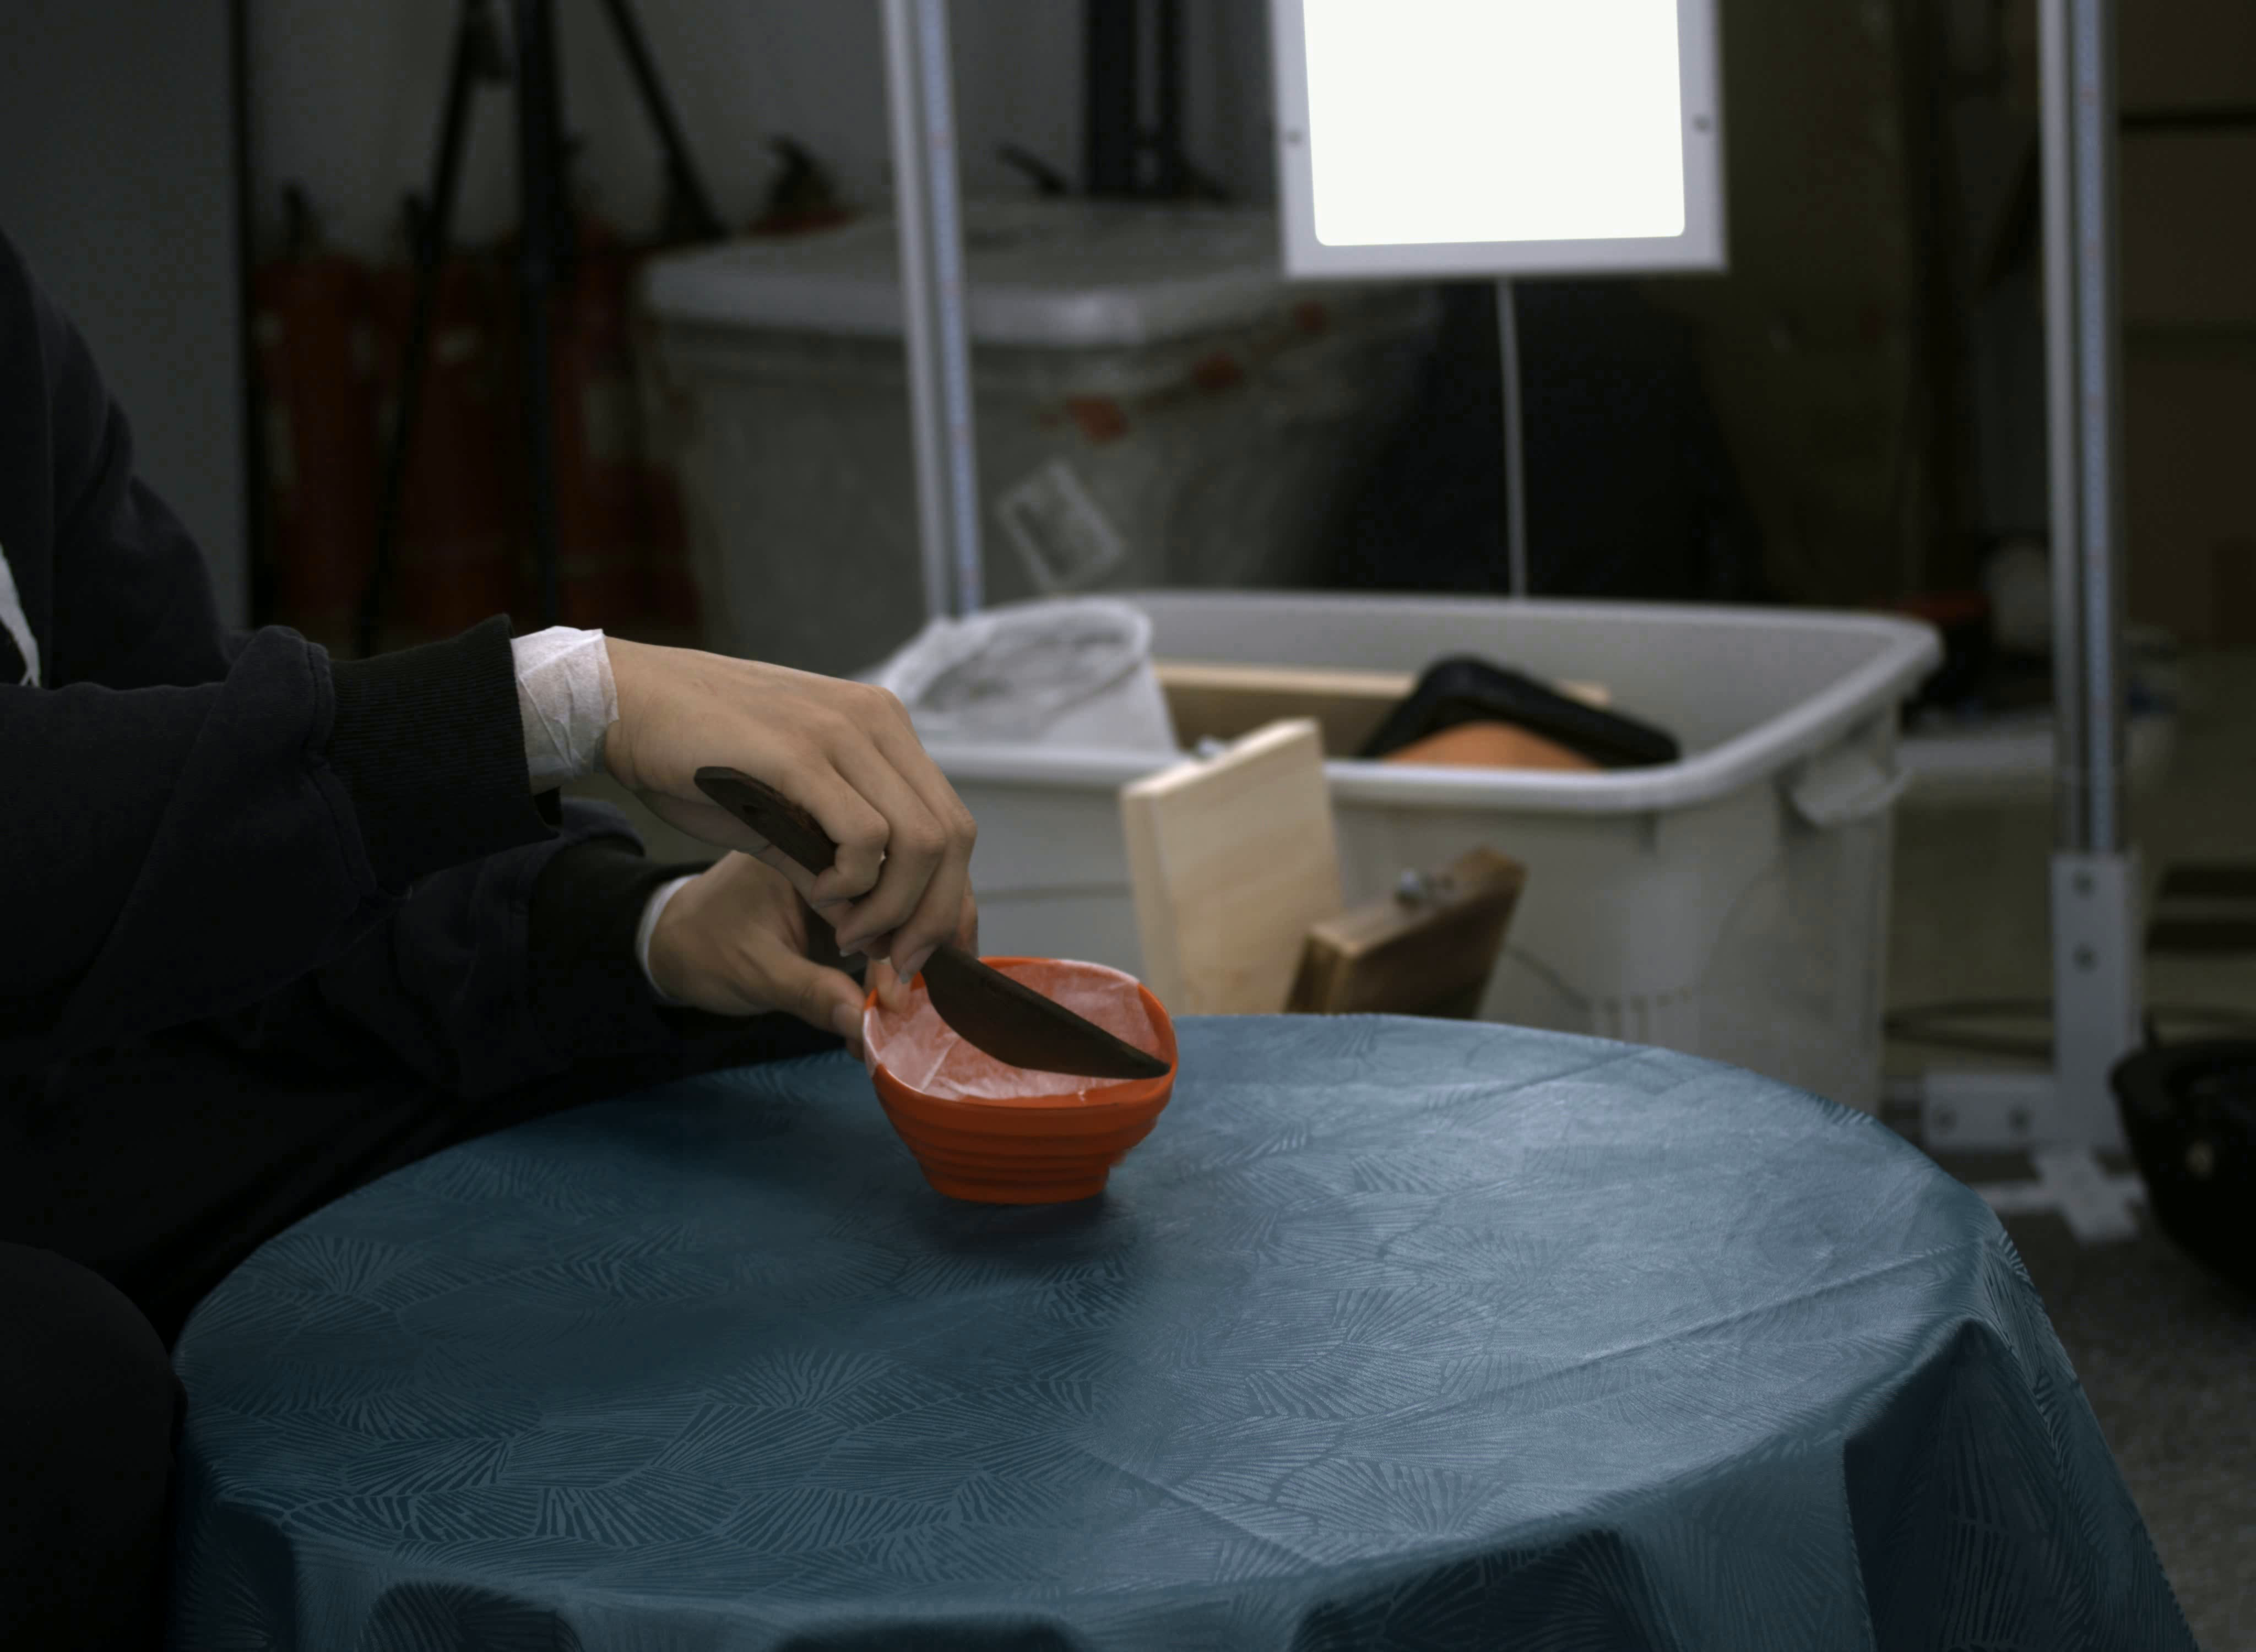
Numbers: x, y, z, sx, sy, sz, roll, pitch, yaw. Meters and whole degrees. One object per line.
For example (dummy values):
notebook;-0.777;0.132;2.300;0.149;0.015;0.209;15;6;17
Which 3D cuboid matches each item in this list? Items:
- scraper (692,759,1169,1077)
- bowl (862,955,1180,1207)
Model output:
scraper;-0.070;0.033;1.795;0.077;0.011;0.208;1;-30;43
bowl;-0.039;0.093;1.908;0.118;0.052;0.118;3;28;-3
